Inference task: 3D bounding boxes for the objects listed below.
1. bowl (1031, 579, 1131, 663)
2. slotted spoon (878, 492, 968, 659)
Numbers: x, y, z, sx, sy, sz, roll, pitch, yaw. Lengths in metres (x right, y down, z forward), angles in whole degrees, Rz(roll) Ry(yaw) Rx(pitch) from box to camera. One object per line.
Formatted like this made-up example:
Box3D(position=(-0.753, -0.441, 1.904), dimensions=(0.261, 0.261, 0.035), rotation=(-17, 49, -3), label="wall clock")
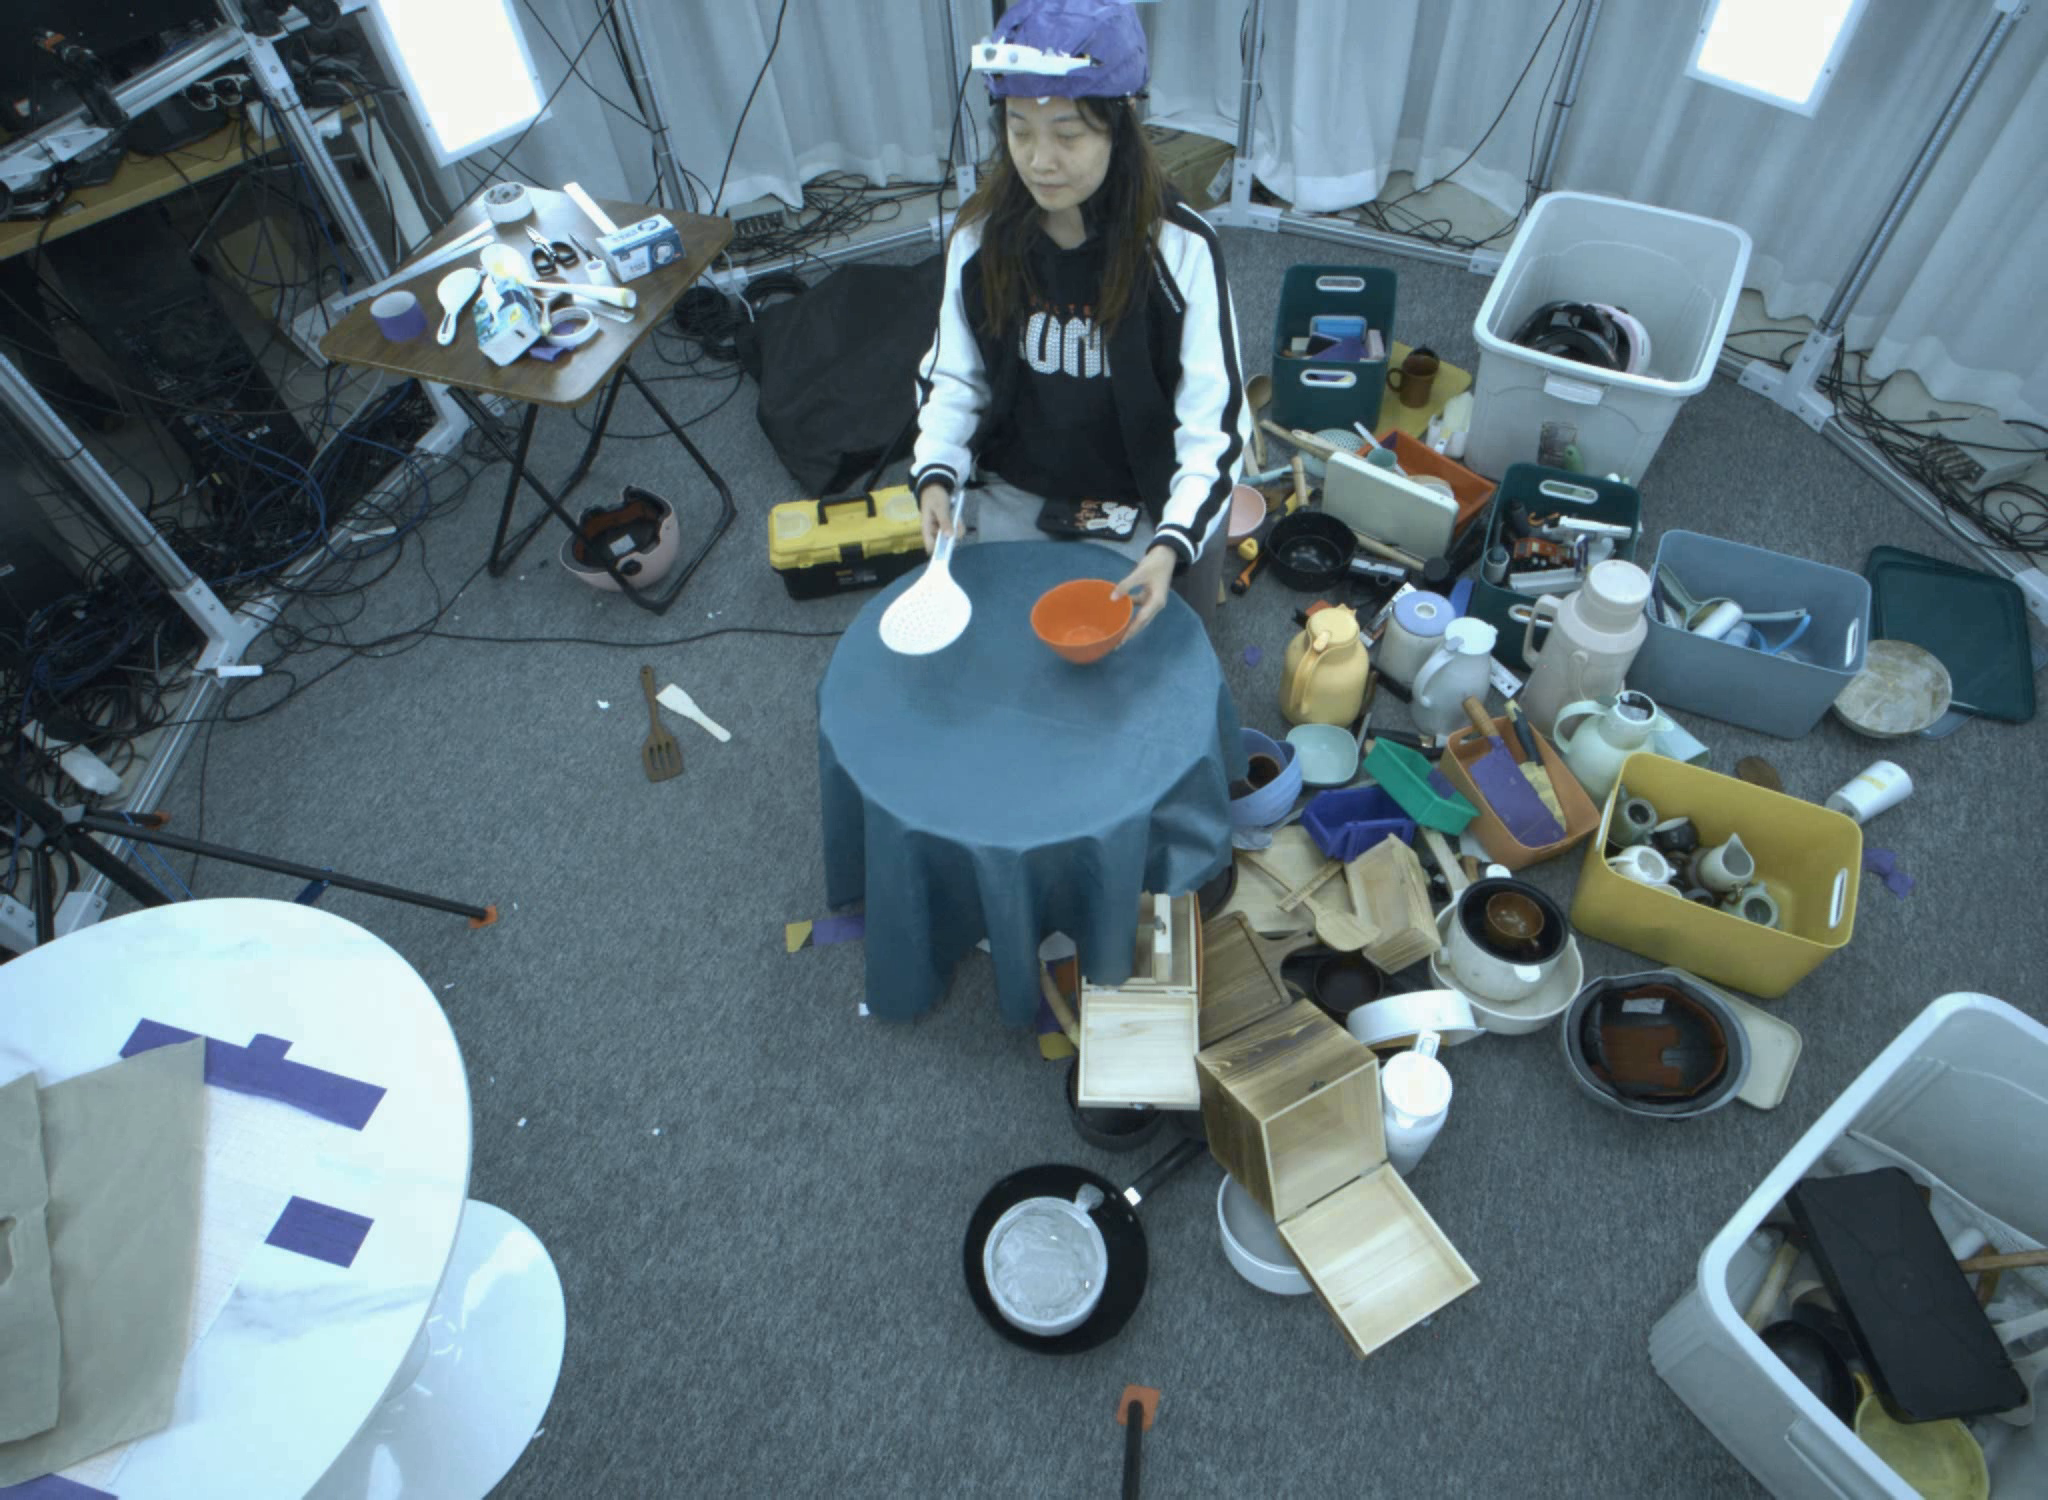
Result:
Box3D(position=(0.088, -0.176, 1.808), dimensions=(0.147, 0.106, 0.146), rotation=(-4, 56, 8), label="bowl")
Box3D(position=(-0.132, -0.267, 1.838), dimensions=(0.135, 0.046, 0.347), rotation=(-1, 58, 14), label="slotted spoon")
